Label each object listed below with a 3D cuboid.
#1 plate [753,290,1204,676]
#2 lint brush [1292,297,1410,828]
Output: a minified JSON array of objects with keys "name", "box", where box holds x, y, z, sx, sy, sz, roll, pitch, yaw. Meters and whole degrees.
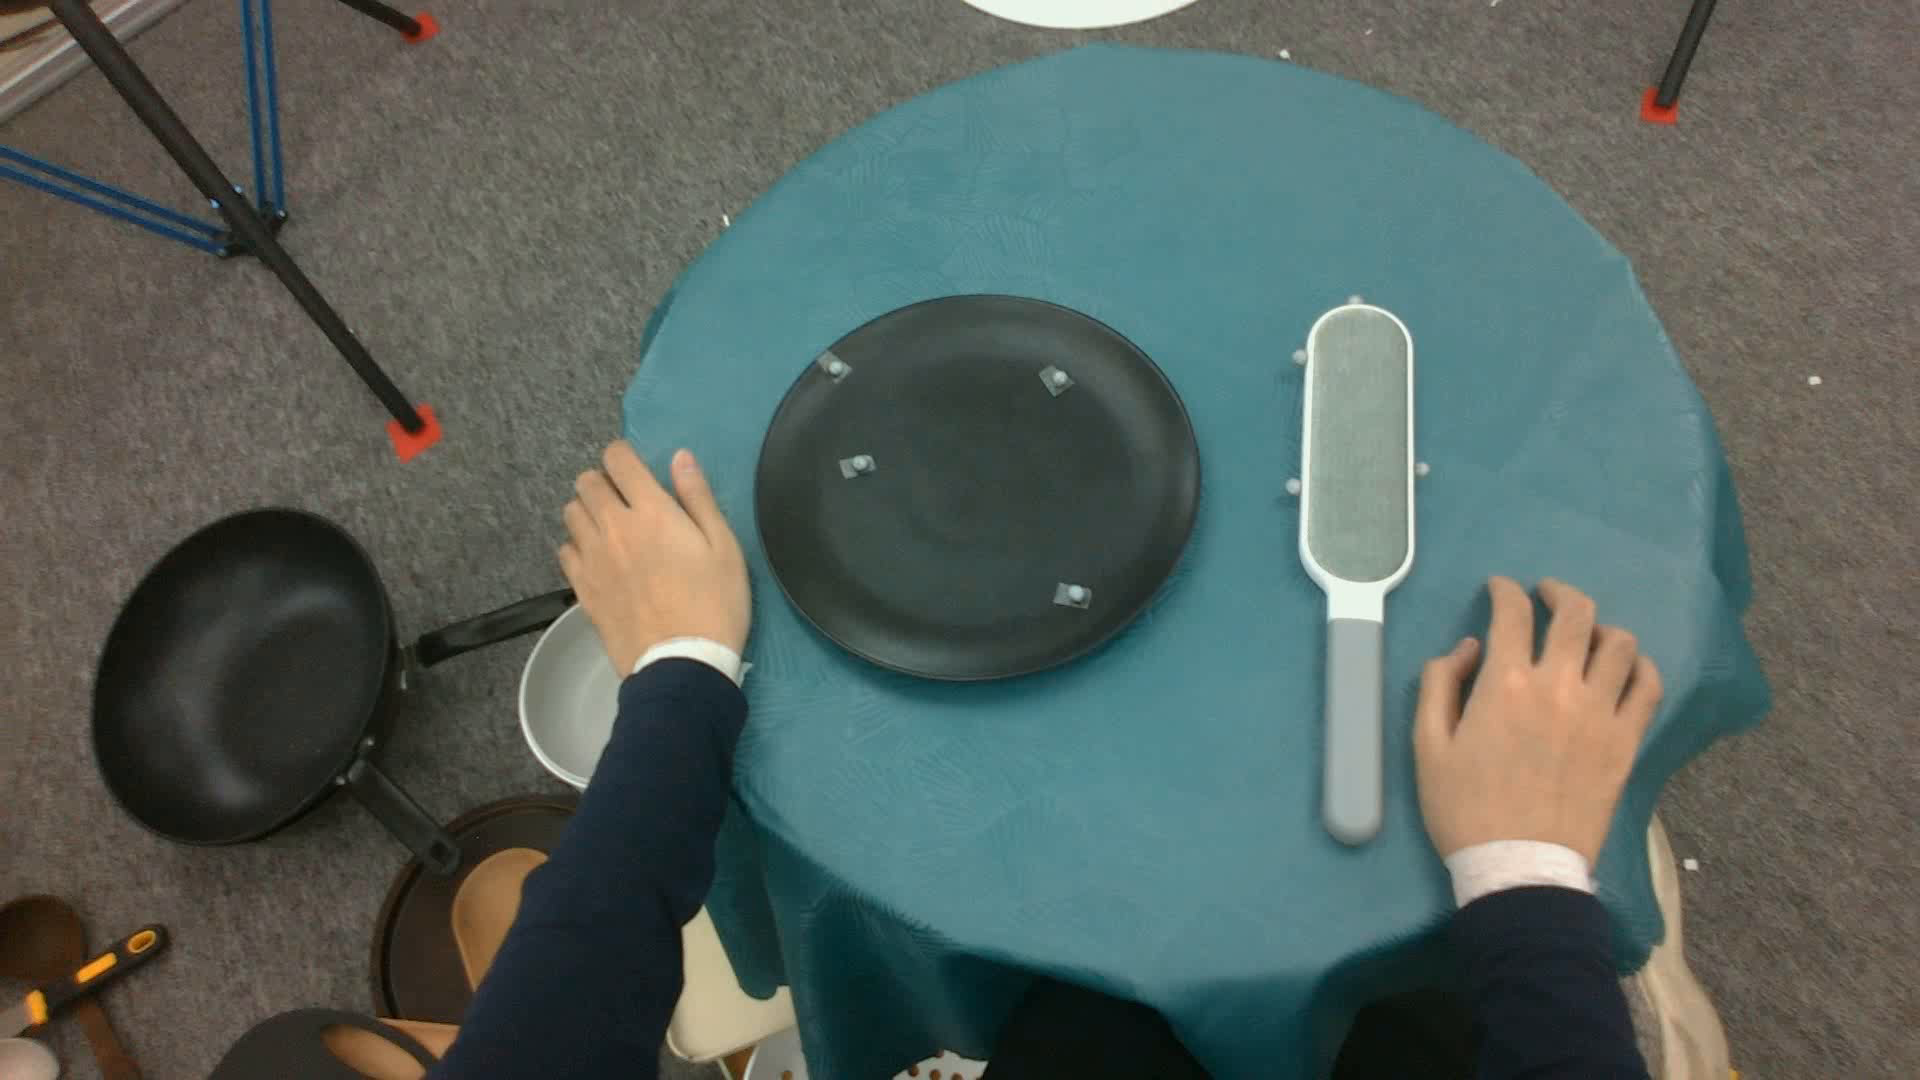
[{"name":"plate","box":[0.009,-0.036,0.750,0.244,0.023,0.245,-2,60,4]},{"name":"lint brush","box":[0.201,-0.002,0.711,0.060,0.021,0.310,8,62,4]}]
